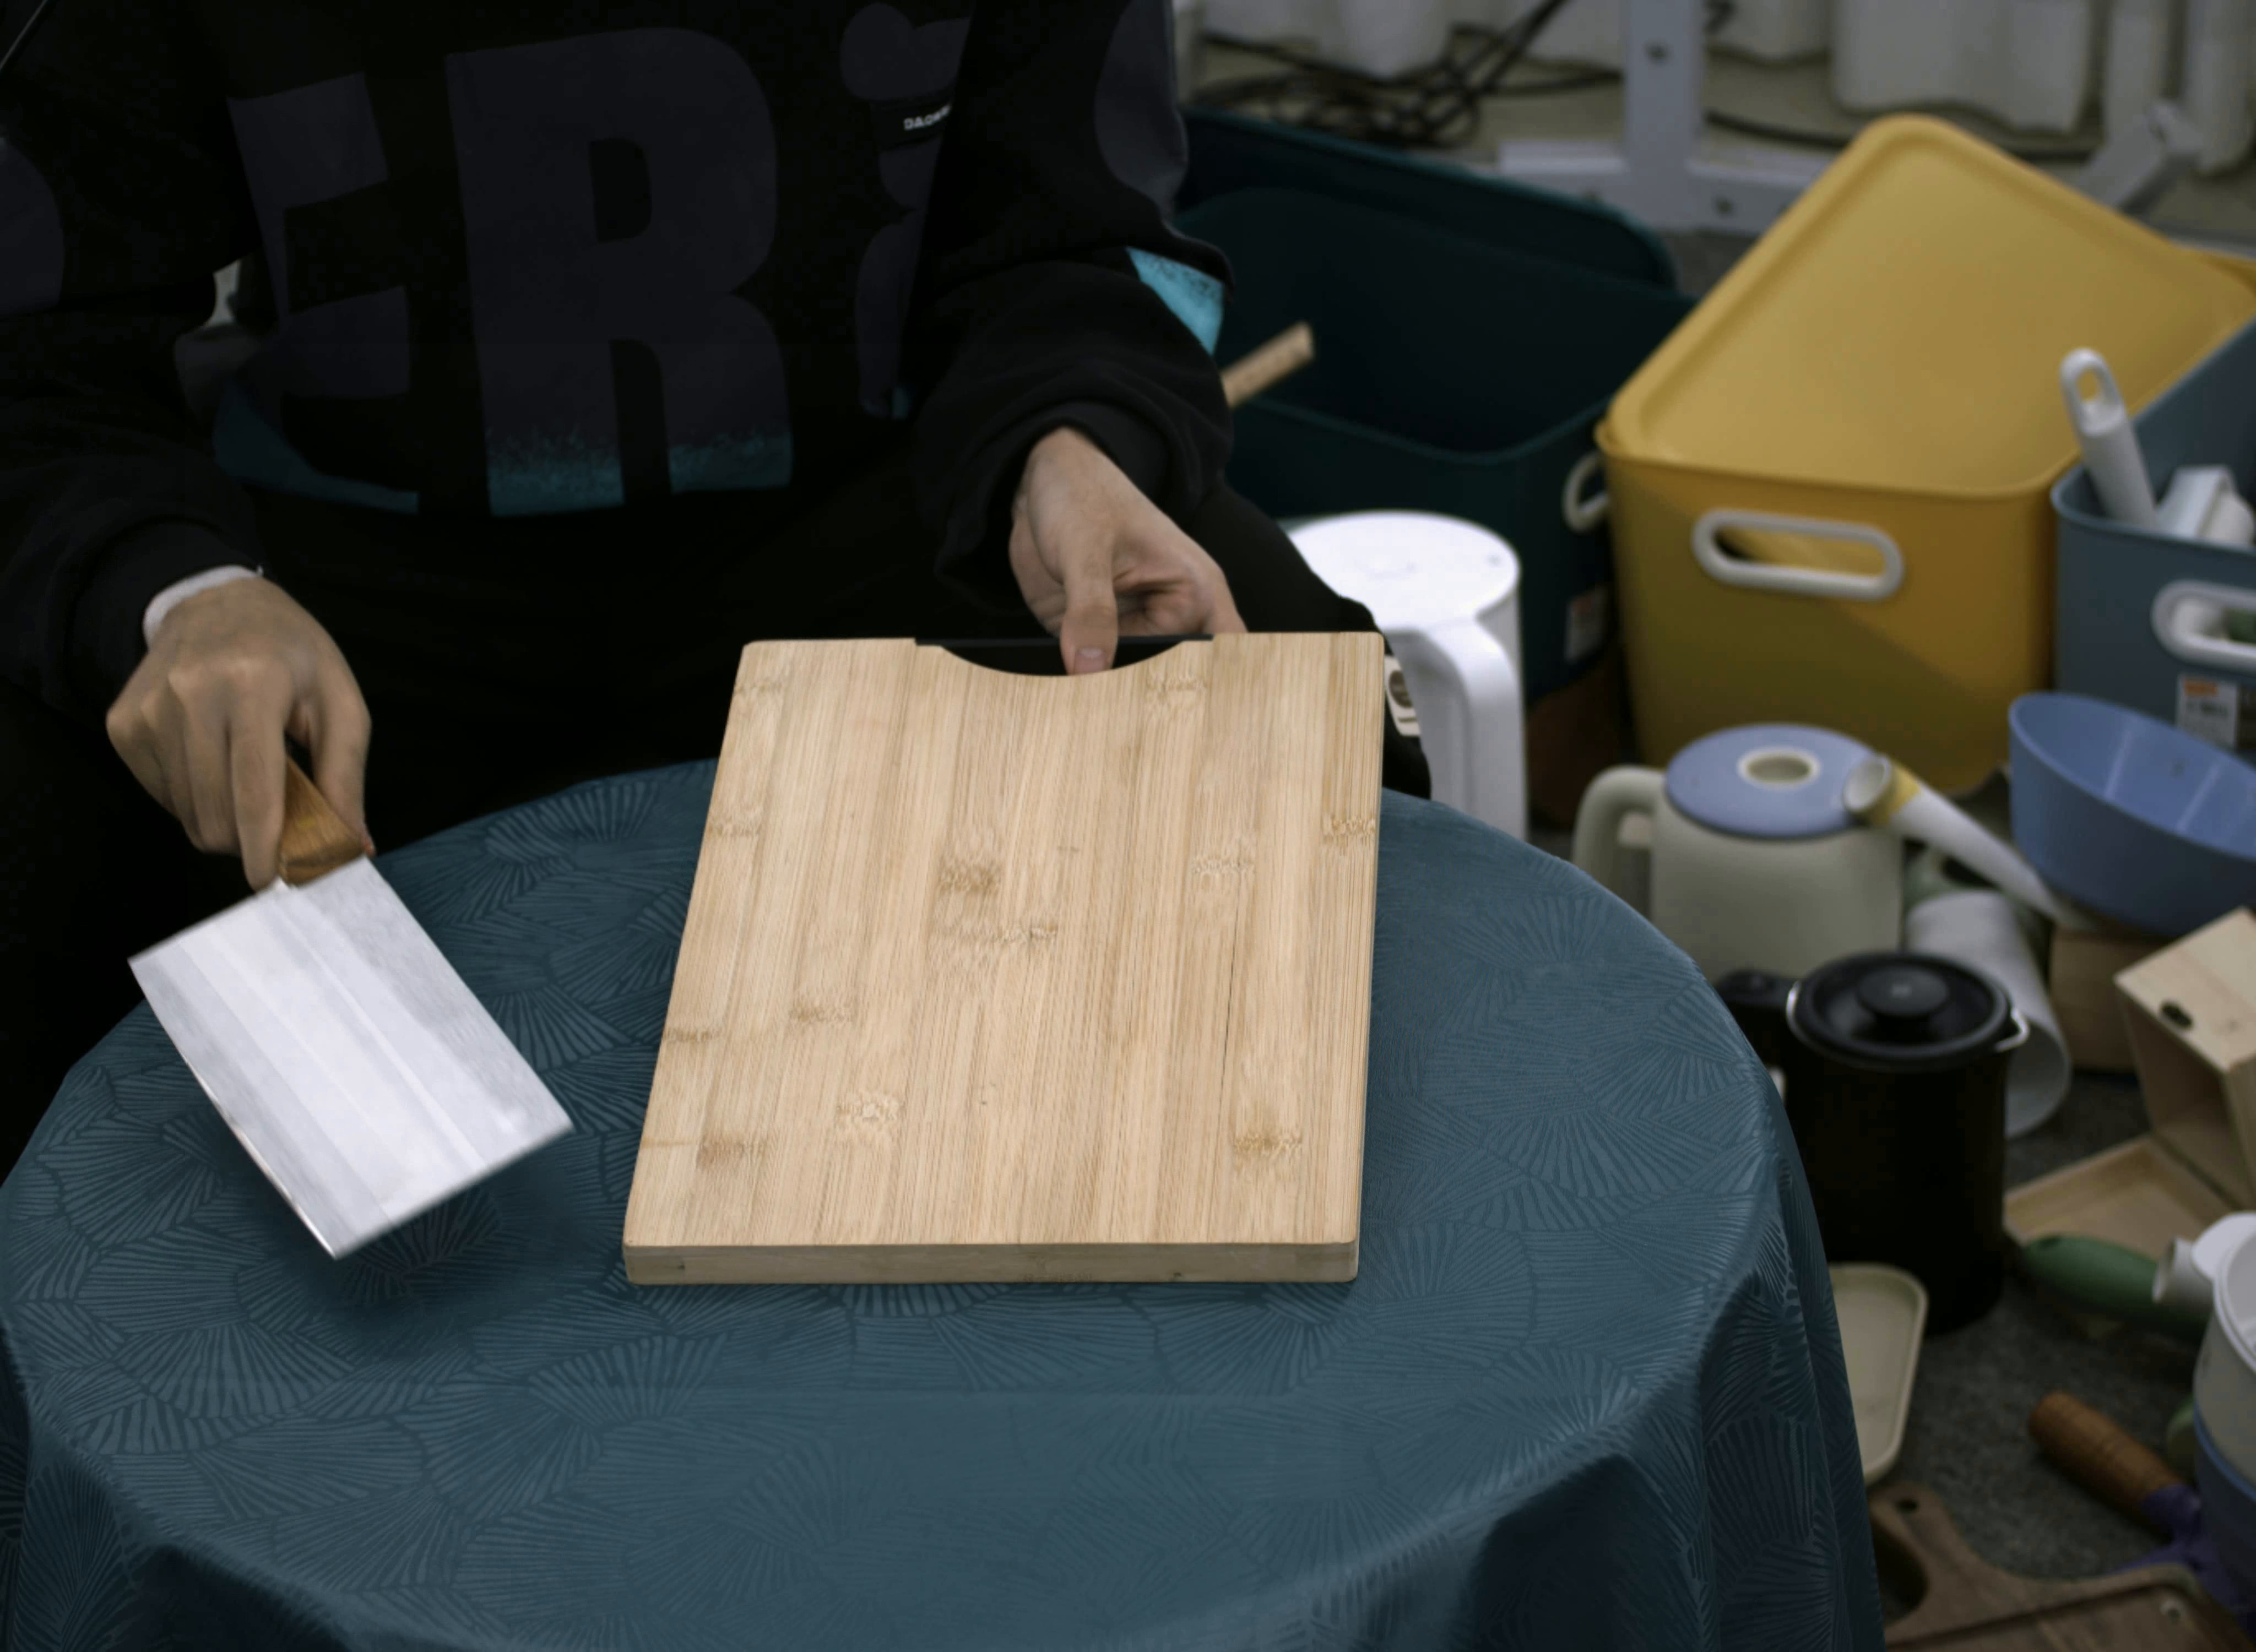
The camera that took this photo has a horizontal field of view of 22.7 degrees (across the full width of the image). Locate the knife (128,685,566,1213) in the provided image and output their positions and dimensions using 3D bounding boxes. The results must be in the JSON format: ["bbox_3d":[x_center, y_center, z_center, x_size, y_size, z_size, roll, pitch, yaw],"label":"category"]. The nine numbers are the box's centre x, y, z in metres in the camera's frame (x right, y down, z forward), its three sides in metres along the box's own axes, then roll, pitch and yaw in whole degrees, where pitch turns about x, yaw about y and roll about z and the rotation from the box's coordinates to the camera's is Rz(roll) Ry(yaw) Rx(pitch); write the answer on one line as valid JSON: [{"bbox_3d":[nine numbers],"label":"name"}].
[{"bbox_3d":[-0.288,0.042,1.914,0.093,0.021,0.308,-28,39,-15],"label":"knife"}]

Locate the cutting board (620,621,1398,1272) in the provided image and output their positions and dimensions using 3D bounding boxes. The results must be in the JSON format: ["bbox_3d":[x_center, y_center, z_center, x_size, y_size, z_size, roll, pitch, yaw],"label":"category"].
[{"bbox_3d":[-0.033,0.037,1.953,0.249,0.023,0.355,-1,36,4],"label":"cutting board"}]
